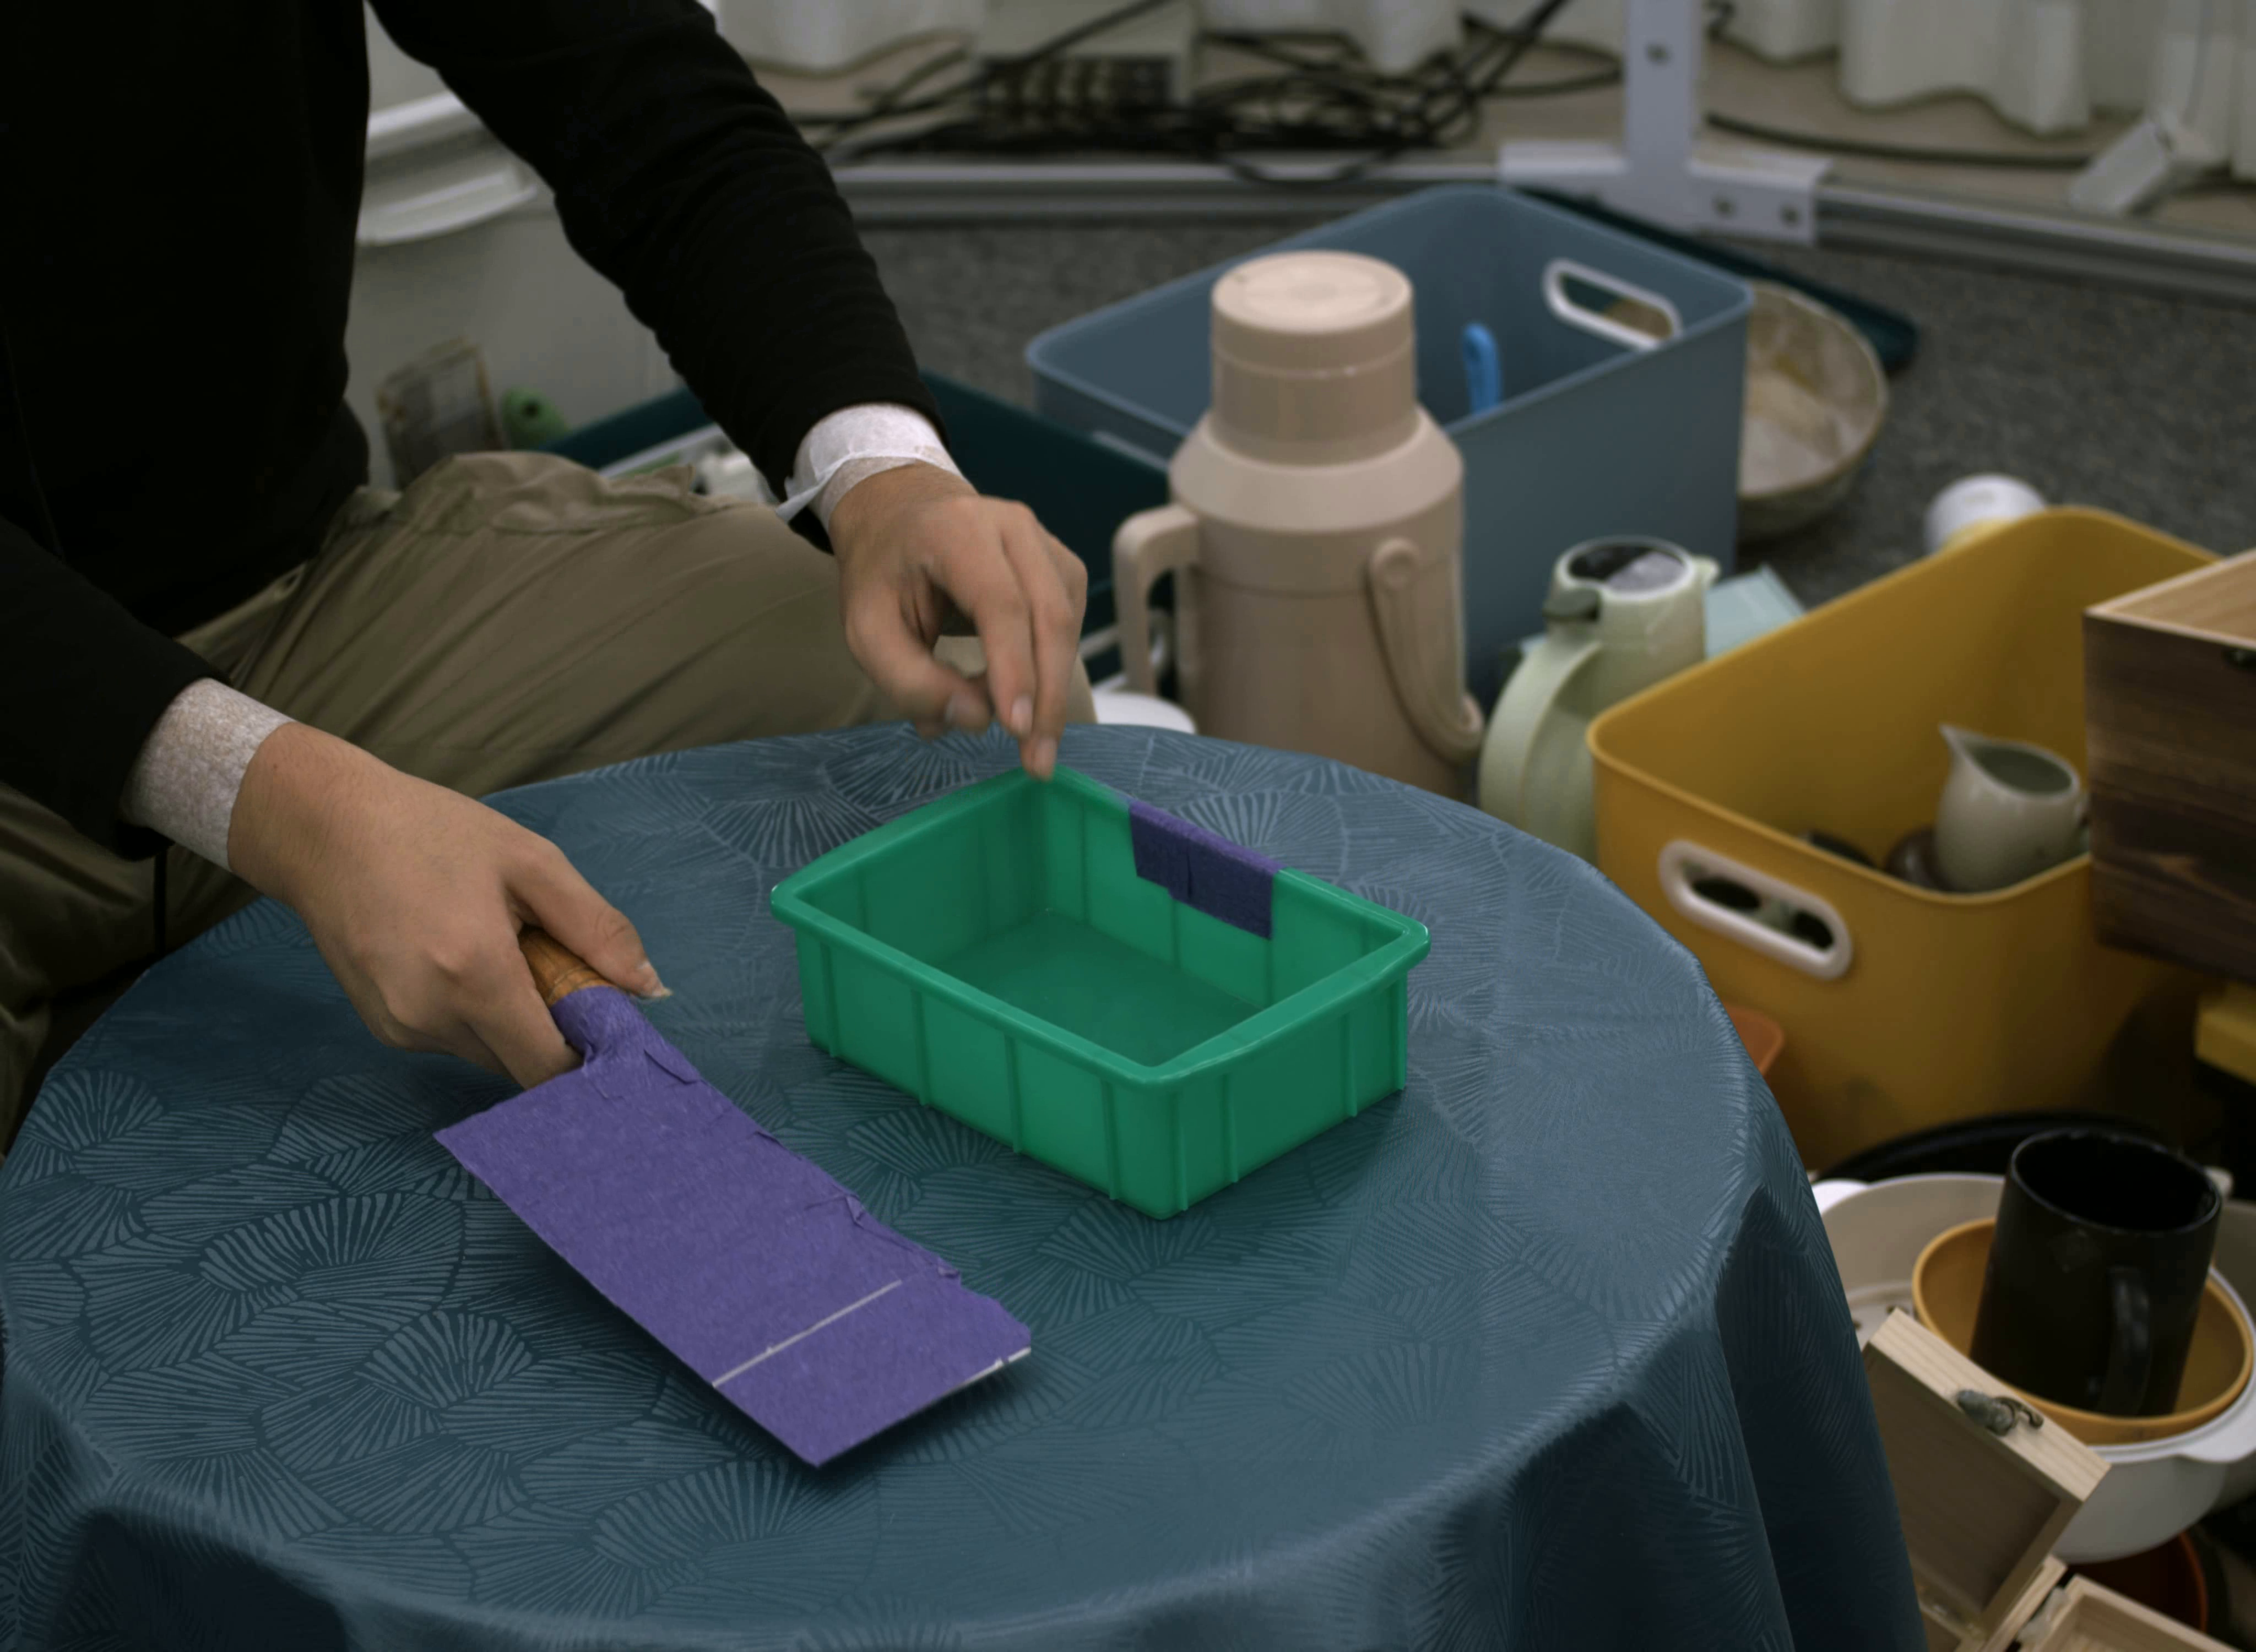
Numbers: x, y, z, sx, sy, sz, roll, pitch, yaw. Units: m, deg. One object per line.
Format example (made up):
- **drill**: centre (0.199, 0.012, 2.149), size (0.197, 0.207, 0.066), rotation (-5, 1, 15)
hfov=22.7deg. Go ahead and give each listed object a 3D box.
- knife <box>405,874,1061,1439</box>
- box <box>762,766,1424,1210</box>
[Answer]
- **knife**: centre (-0.159, 0.104, 1.825), size (0.105, 0.032, 0.316), rotation (-23, 39, -35)
- **box**: centre (-0.012, 0.055, 1.924), size (0.140, 0.064, 0.210), rotation (-25, 33, -39)
